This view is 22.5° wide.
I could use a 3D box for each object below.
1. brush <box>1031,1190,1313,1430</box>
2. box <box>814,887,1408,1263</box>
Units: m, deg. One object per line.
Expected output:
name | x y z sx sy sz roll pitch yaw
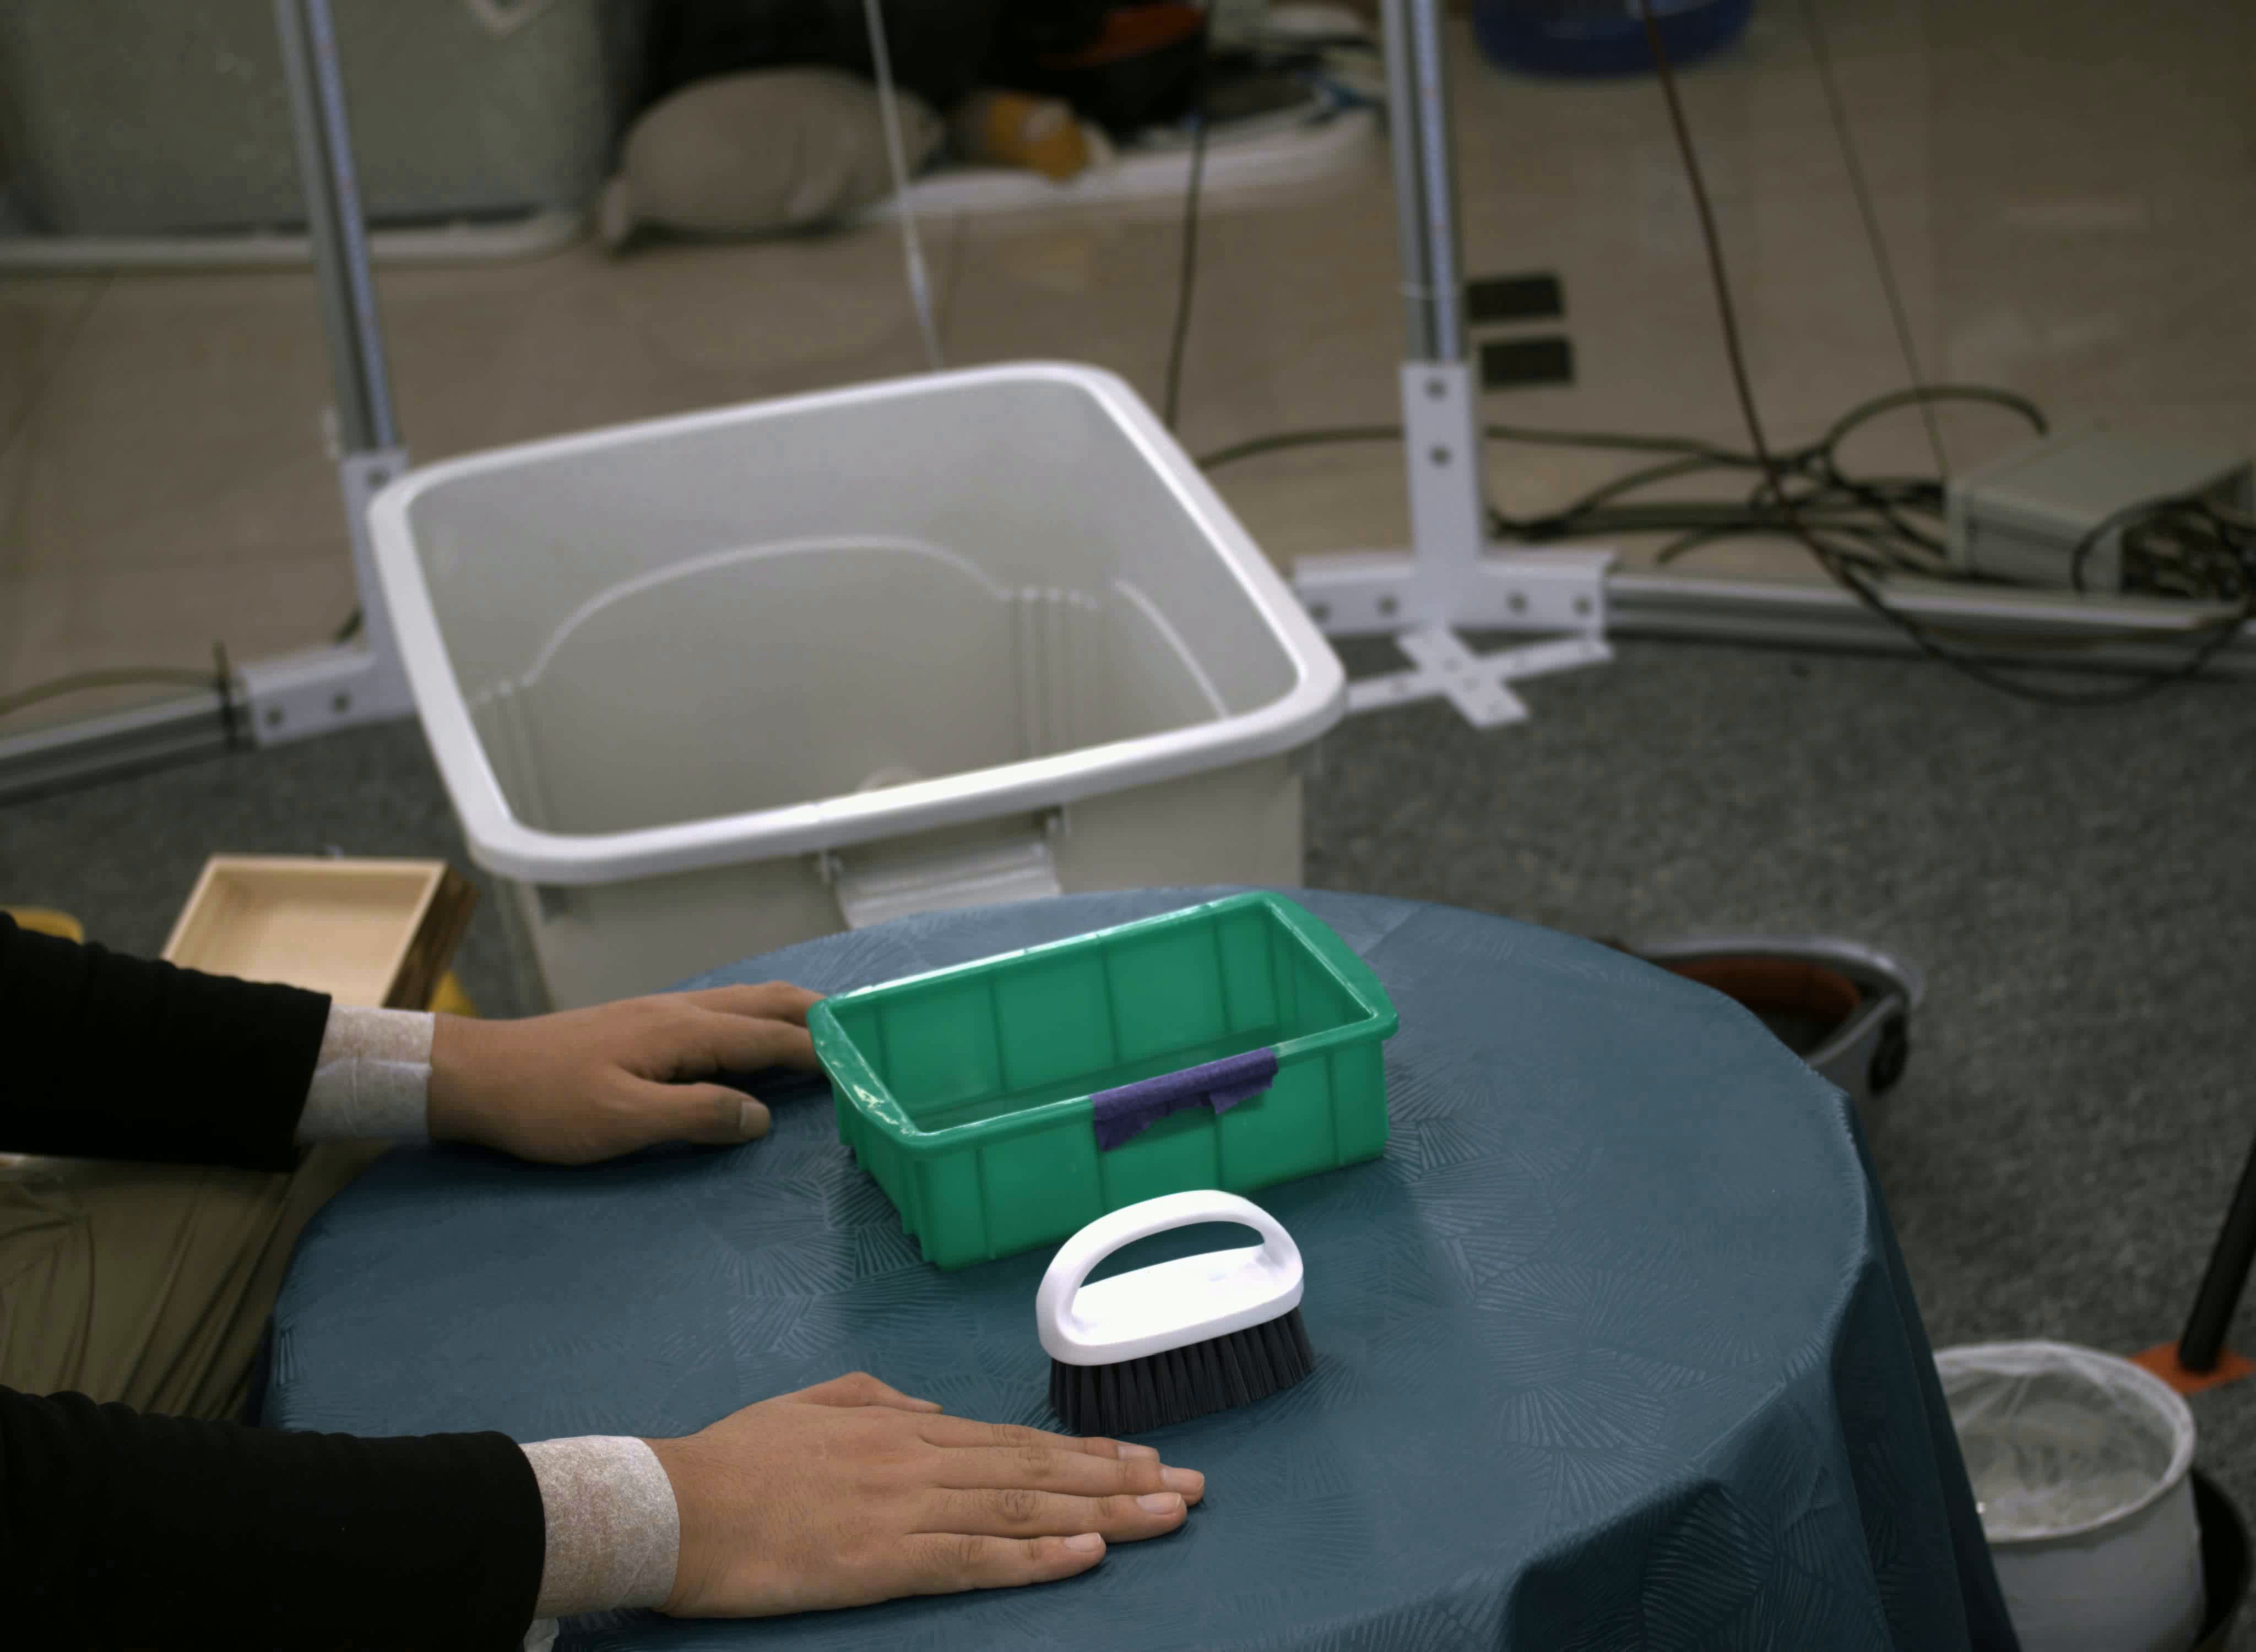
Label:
brush | 0.014 0.165 1.999 0.099 0.073 0.049 -13 27 -13
box | -0.006 0.096 2.167 0.210 0.066 0.137 -13 27 -17
